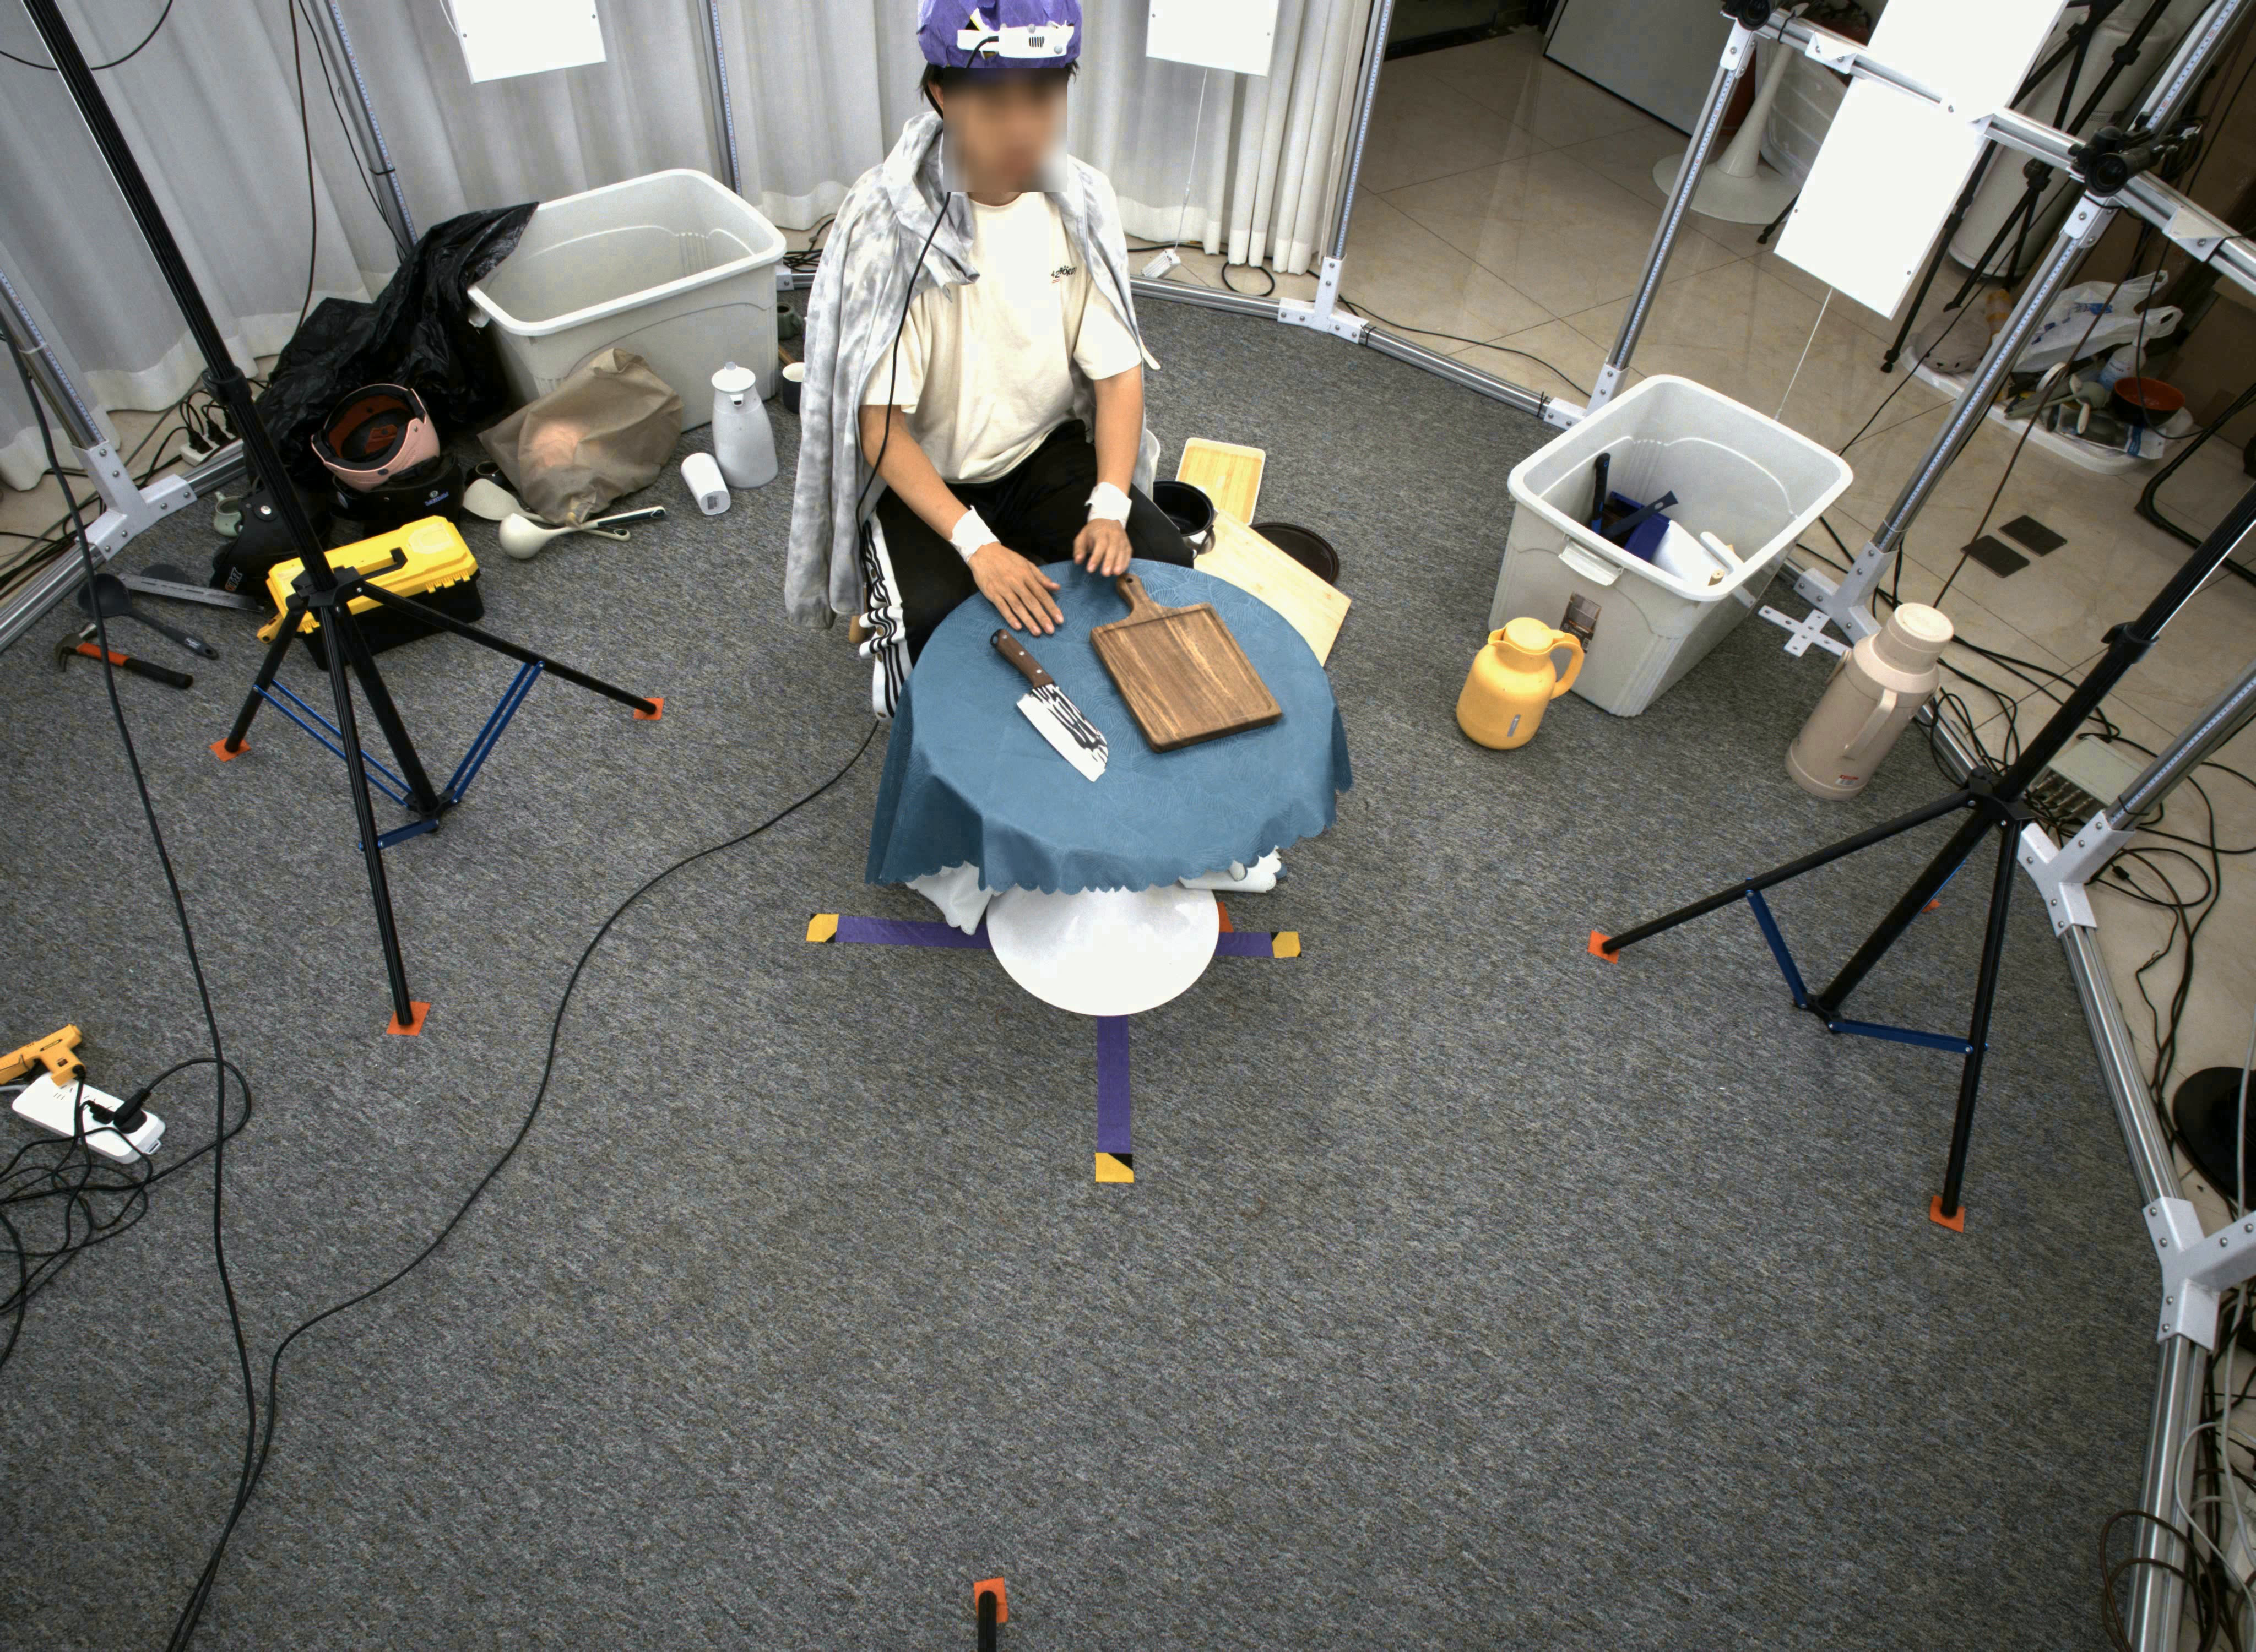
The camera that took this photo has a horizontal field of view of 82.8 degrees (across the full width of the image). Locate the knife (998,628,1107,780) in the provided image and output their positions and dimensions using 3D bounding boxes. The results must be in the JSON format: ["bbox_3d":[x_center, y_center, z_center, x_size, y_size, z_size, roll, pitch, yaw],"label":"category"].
[{"bbox_3d":[-0.115,-0.173,1.791,0.068,0.023,0.305,-26,58,-22],"label":"knife"}]

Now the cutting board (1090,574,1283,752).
[{"bbox_3d":[0.061,-0.256,1.874,0.201,0.022,0.360,-15,51,-17],"label":"cutting board"}]
